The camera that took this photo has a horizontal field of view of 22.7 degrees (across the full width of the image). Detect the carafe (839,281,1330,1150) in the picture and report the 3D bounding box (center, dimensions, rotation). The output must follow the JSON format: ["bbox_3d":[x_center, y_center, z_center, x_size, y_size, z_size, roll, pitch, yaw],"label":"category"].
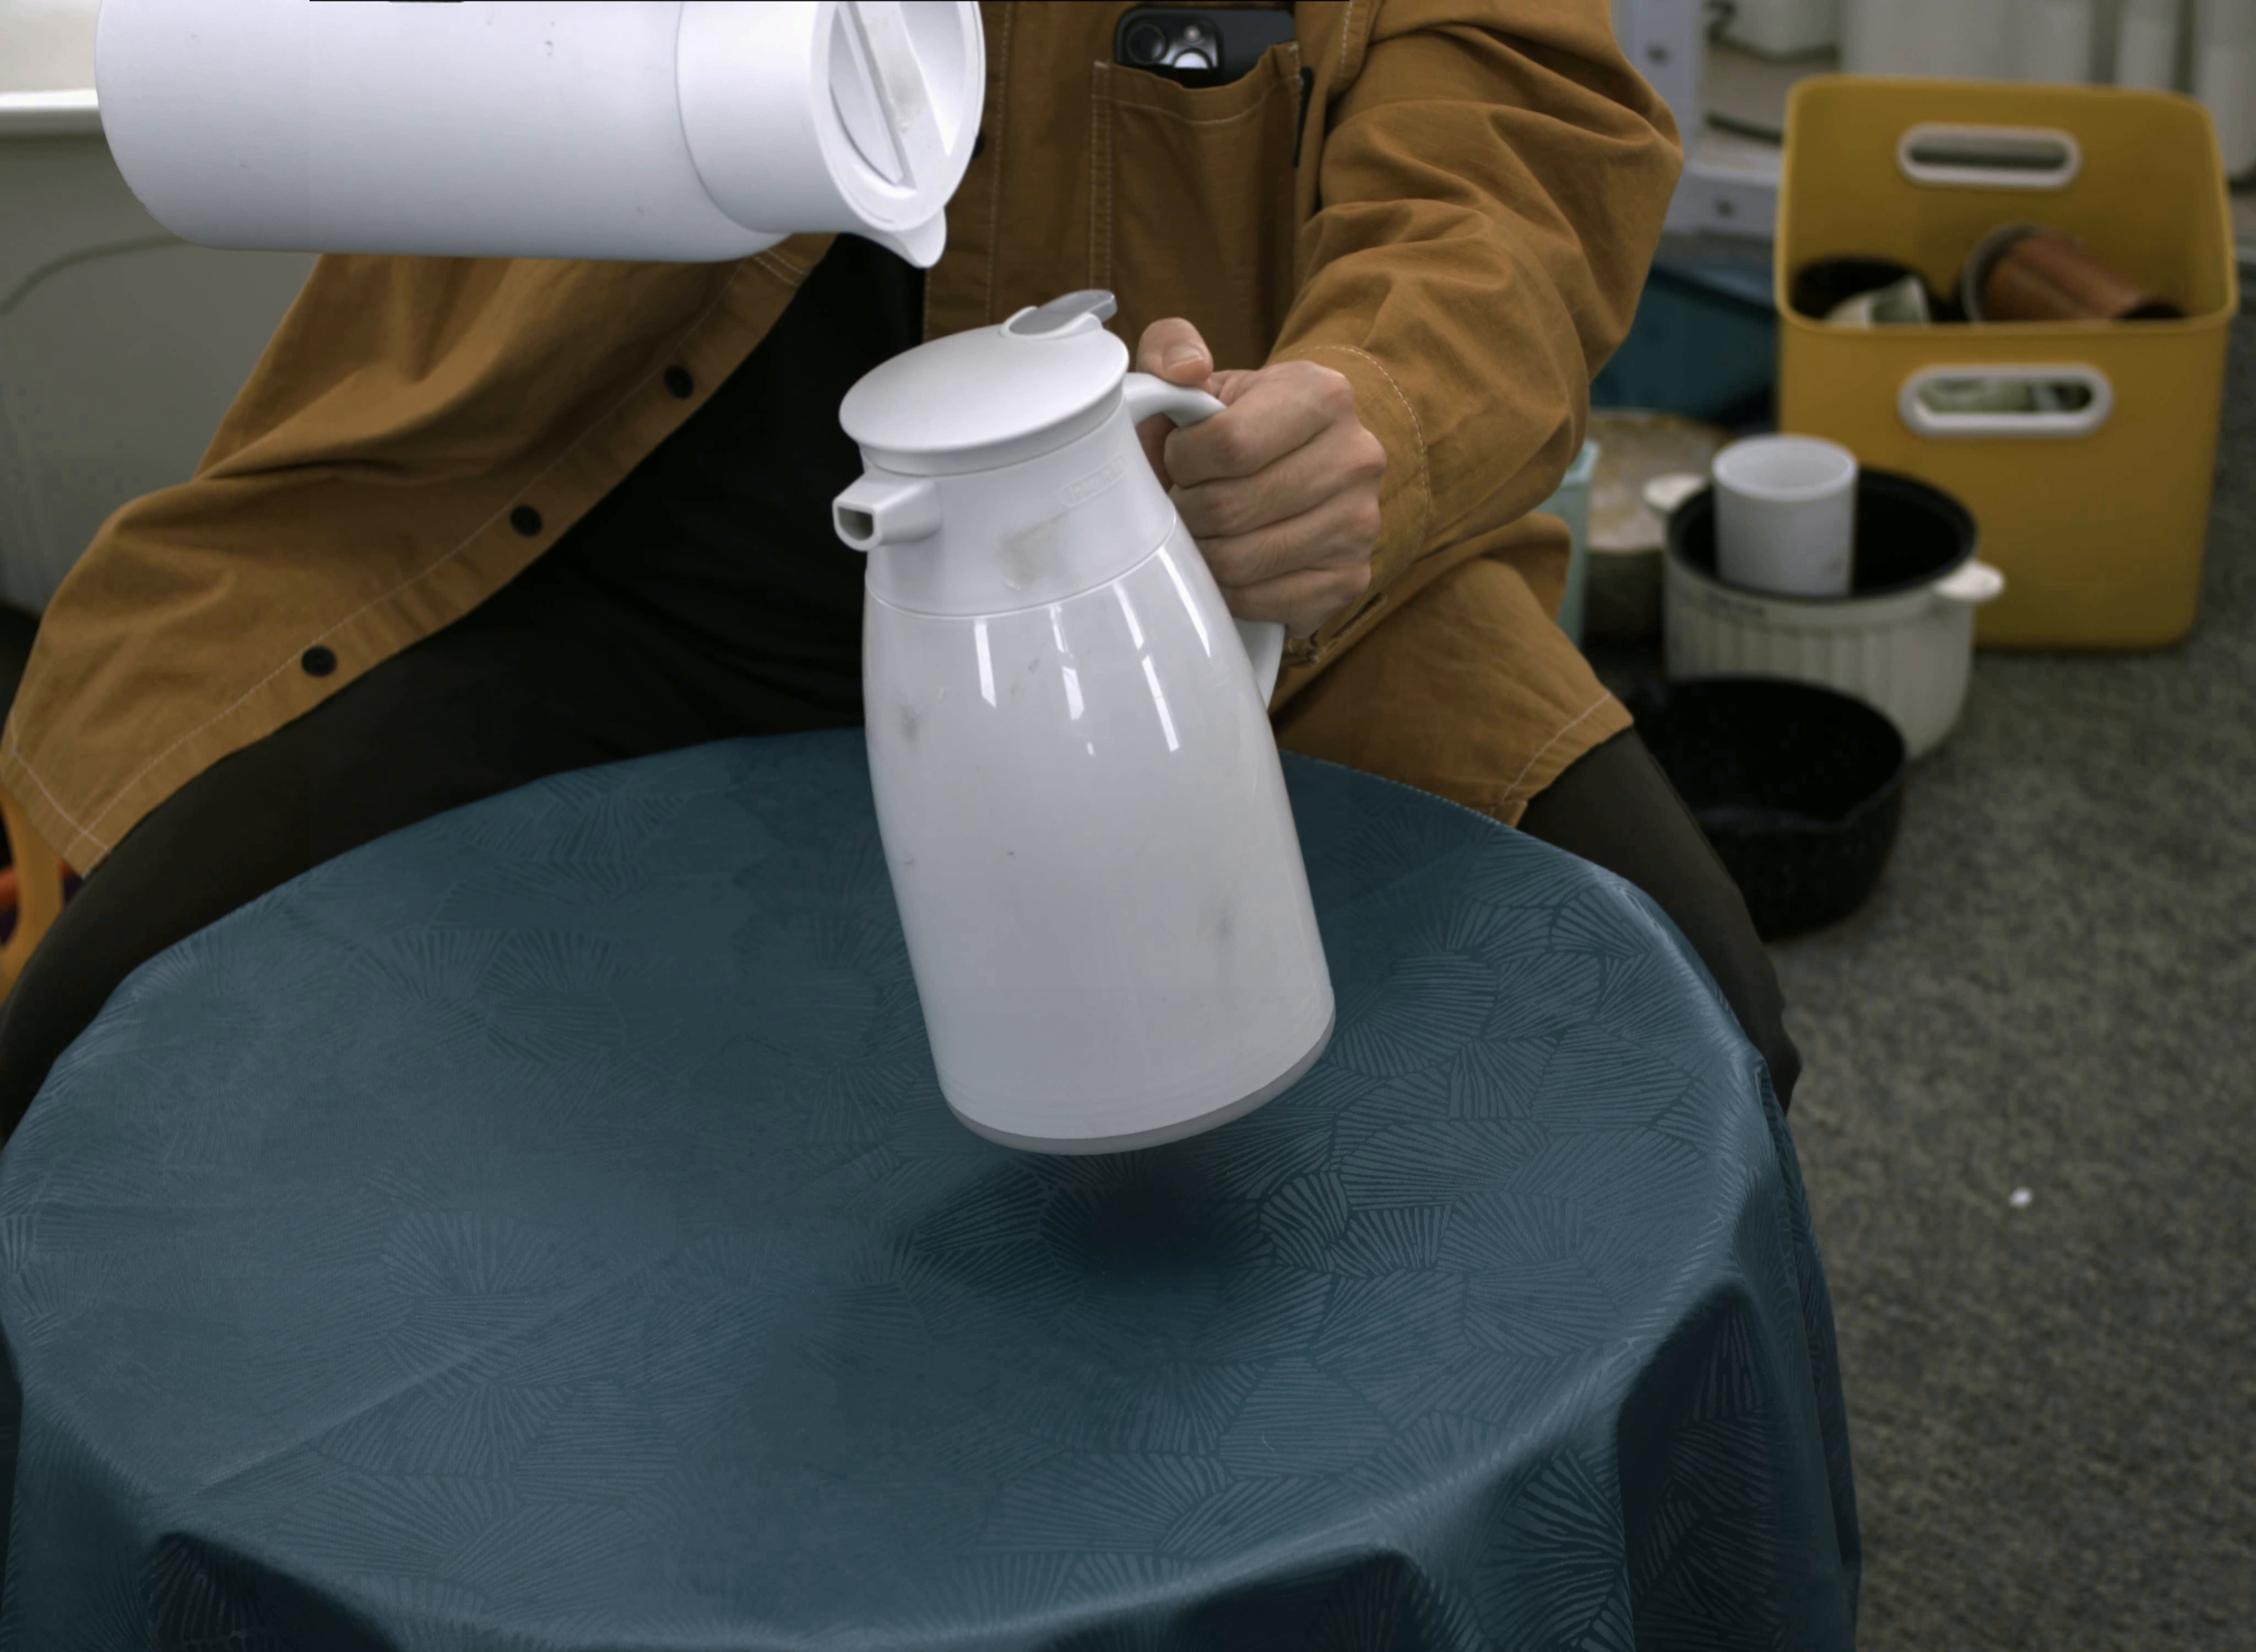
[{"bbox_3d":[-0.010,-0.045,1.791,0.132,0.246,0.170,12,33,42],"label":"carafe"}]

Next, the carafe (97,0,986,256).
[{"bbox_3d":[-0.186,-0.248,1.727,0.266,0.171,0.126,5,40,31],"label":"carafe"}]
